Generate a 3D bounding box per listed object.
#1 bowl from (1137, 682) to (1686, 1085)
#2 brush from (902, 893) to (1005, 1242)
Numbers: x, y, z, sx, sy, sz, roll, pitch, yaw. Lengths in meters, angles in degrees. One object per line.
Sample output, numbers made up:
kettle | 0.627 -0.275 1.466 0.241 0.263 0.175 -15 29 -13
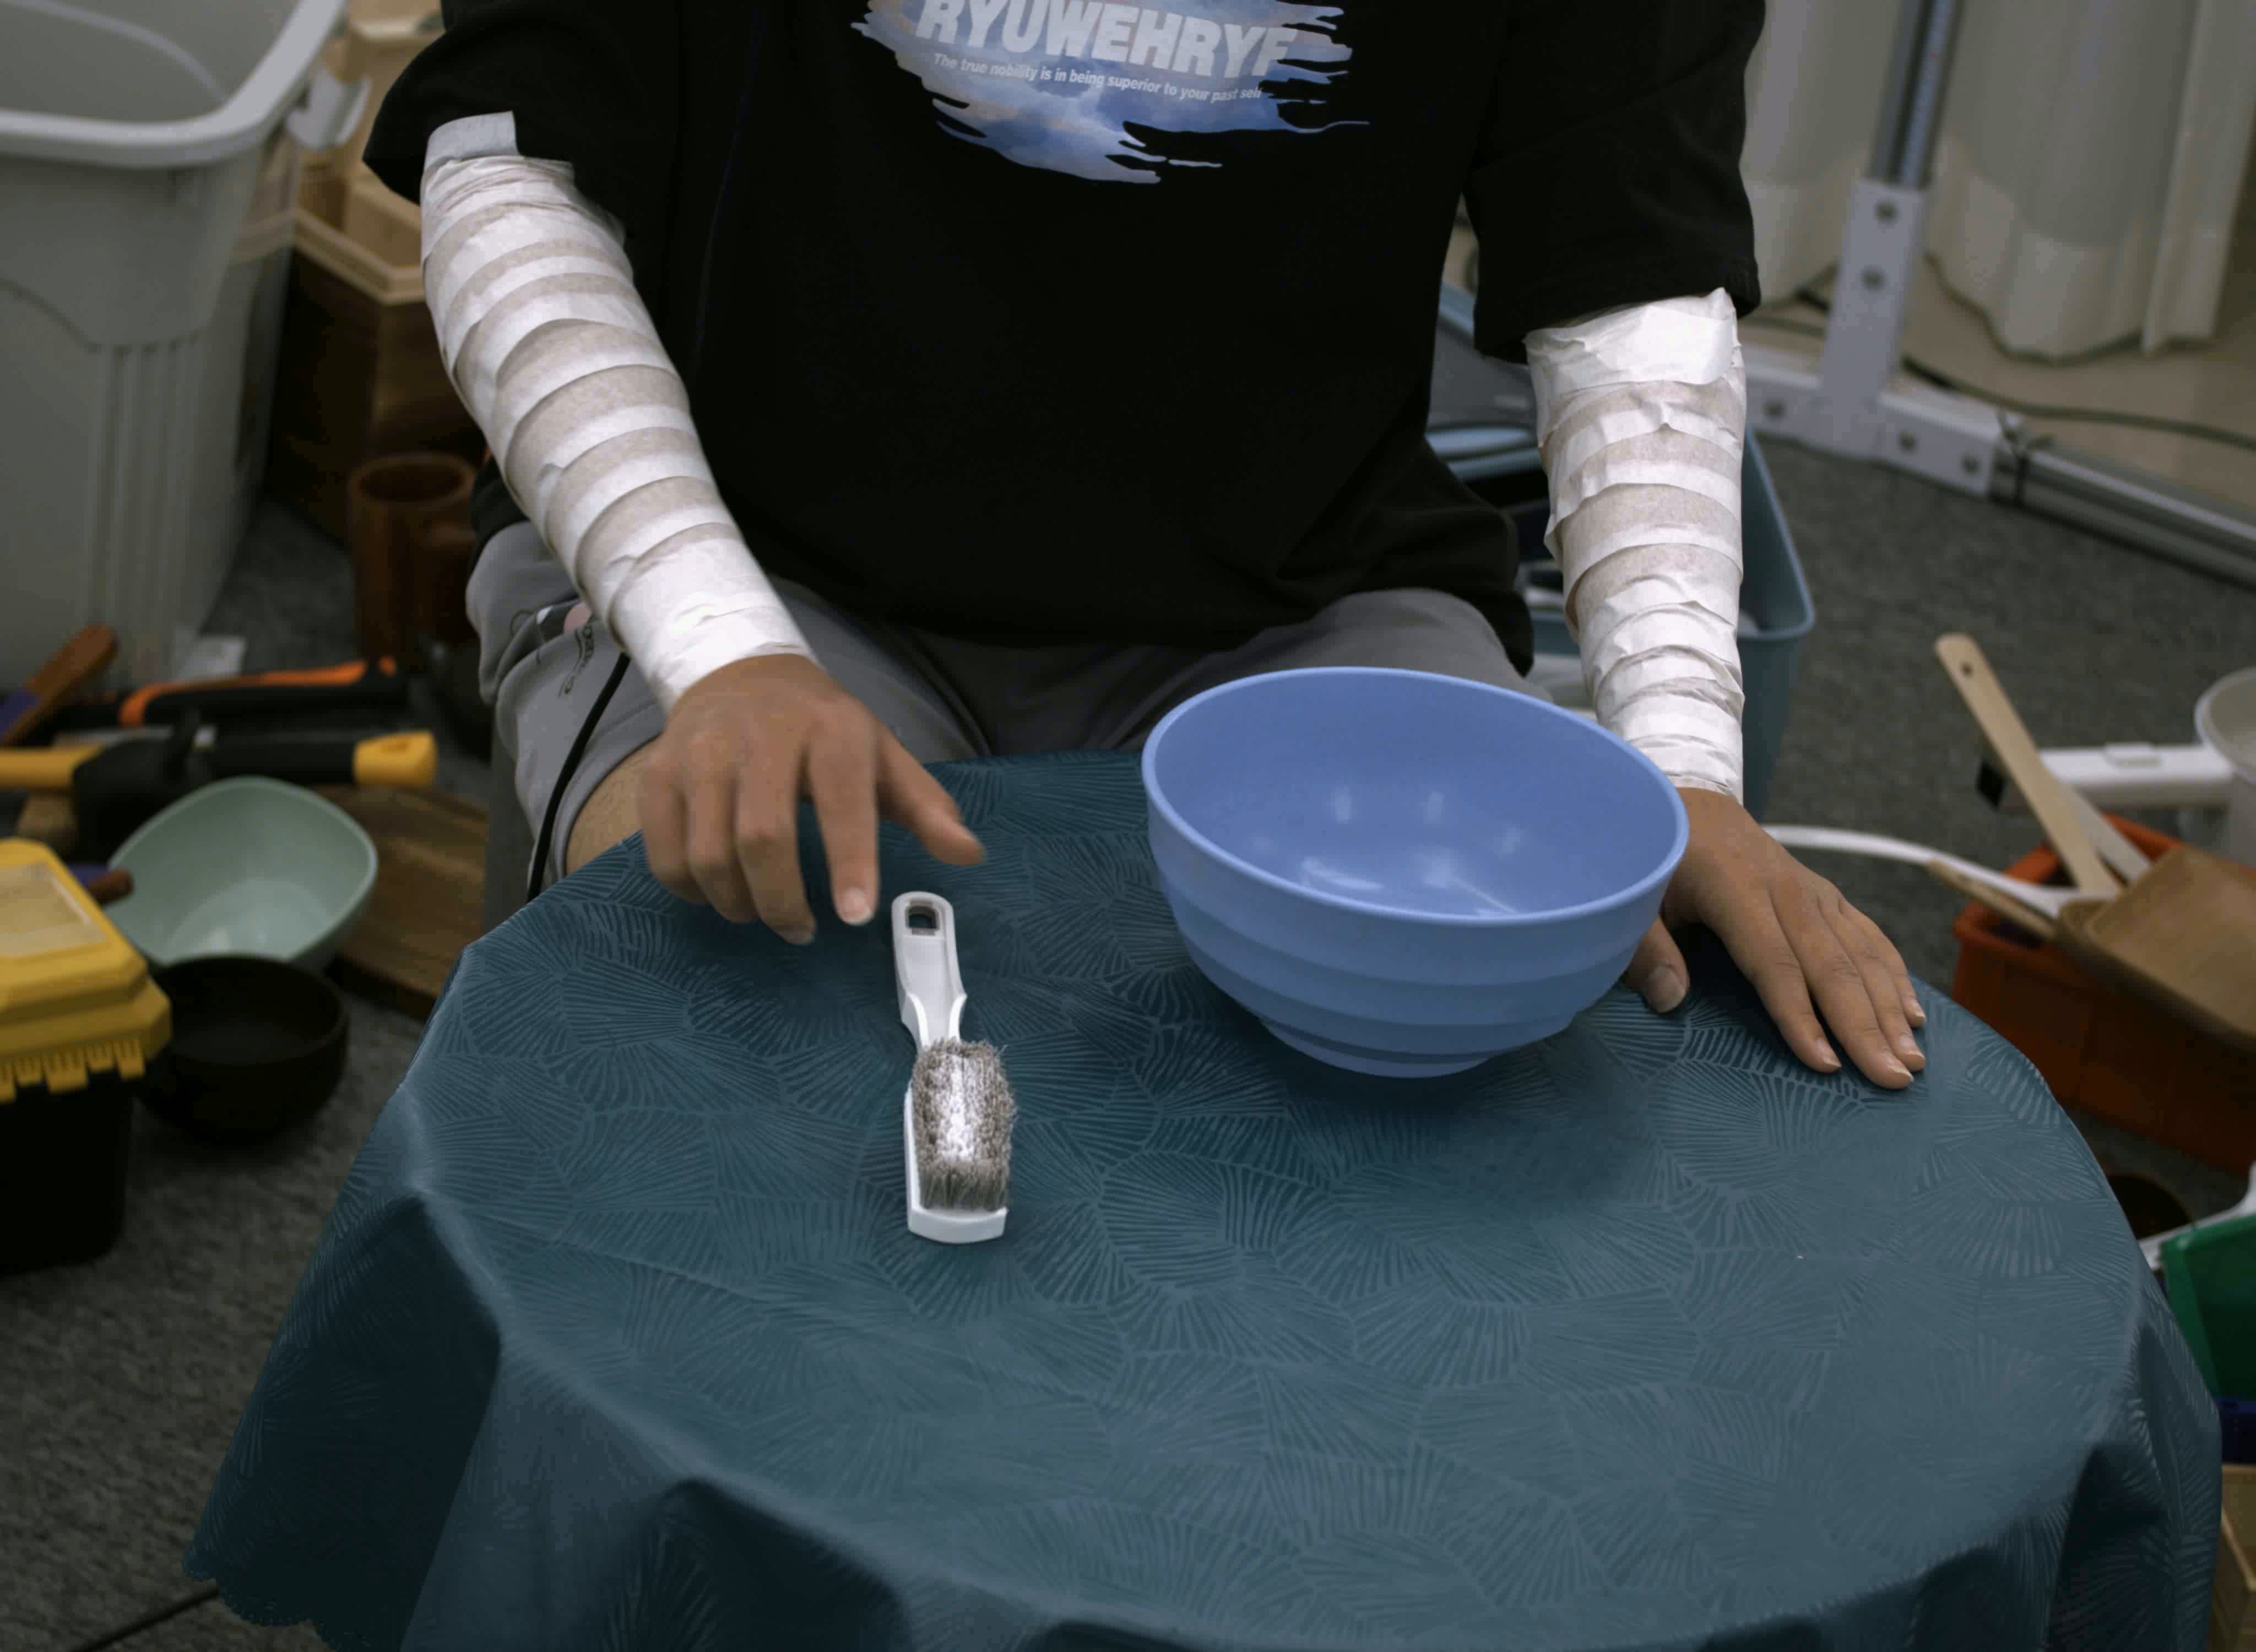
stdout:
bowl | 0.098 0.030 1.913 0.196 0.095 0.197 3 26 -2
brush | -0.061 0.066 1.849 0.034 0.050 0.245 2 27 -3
